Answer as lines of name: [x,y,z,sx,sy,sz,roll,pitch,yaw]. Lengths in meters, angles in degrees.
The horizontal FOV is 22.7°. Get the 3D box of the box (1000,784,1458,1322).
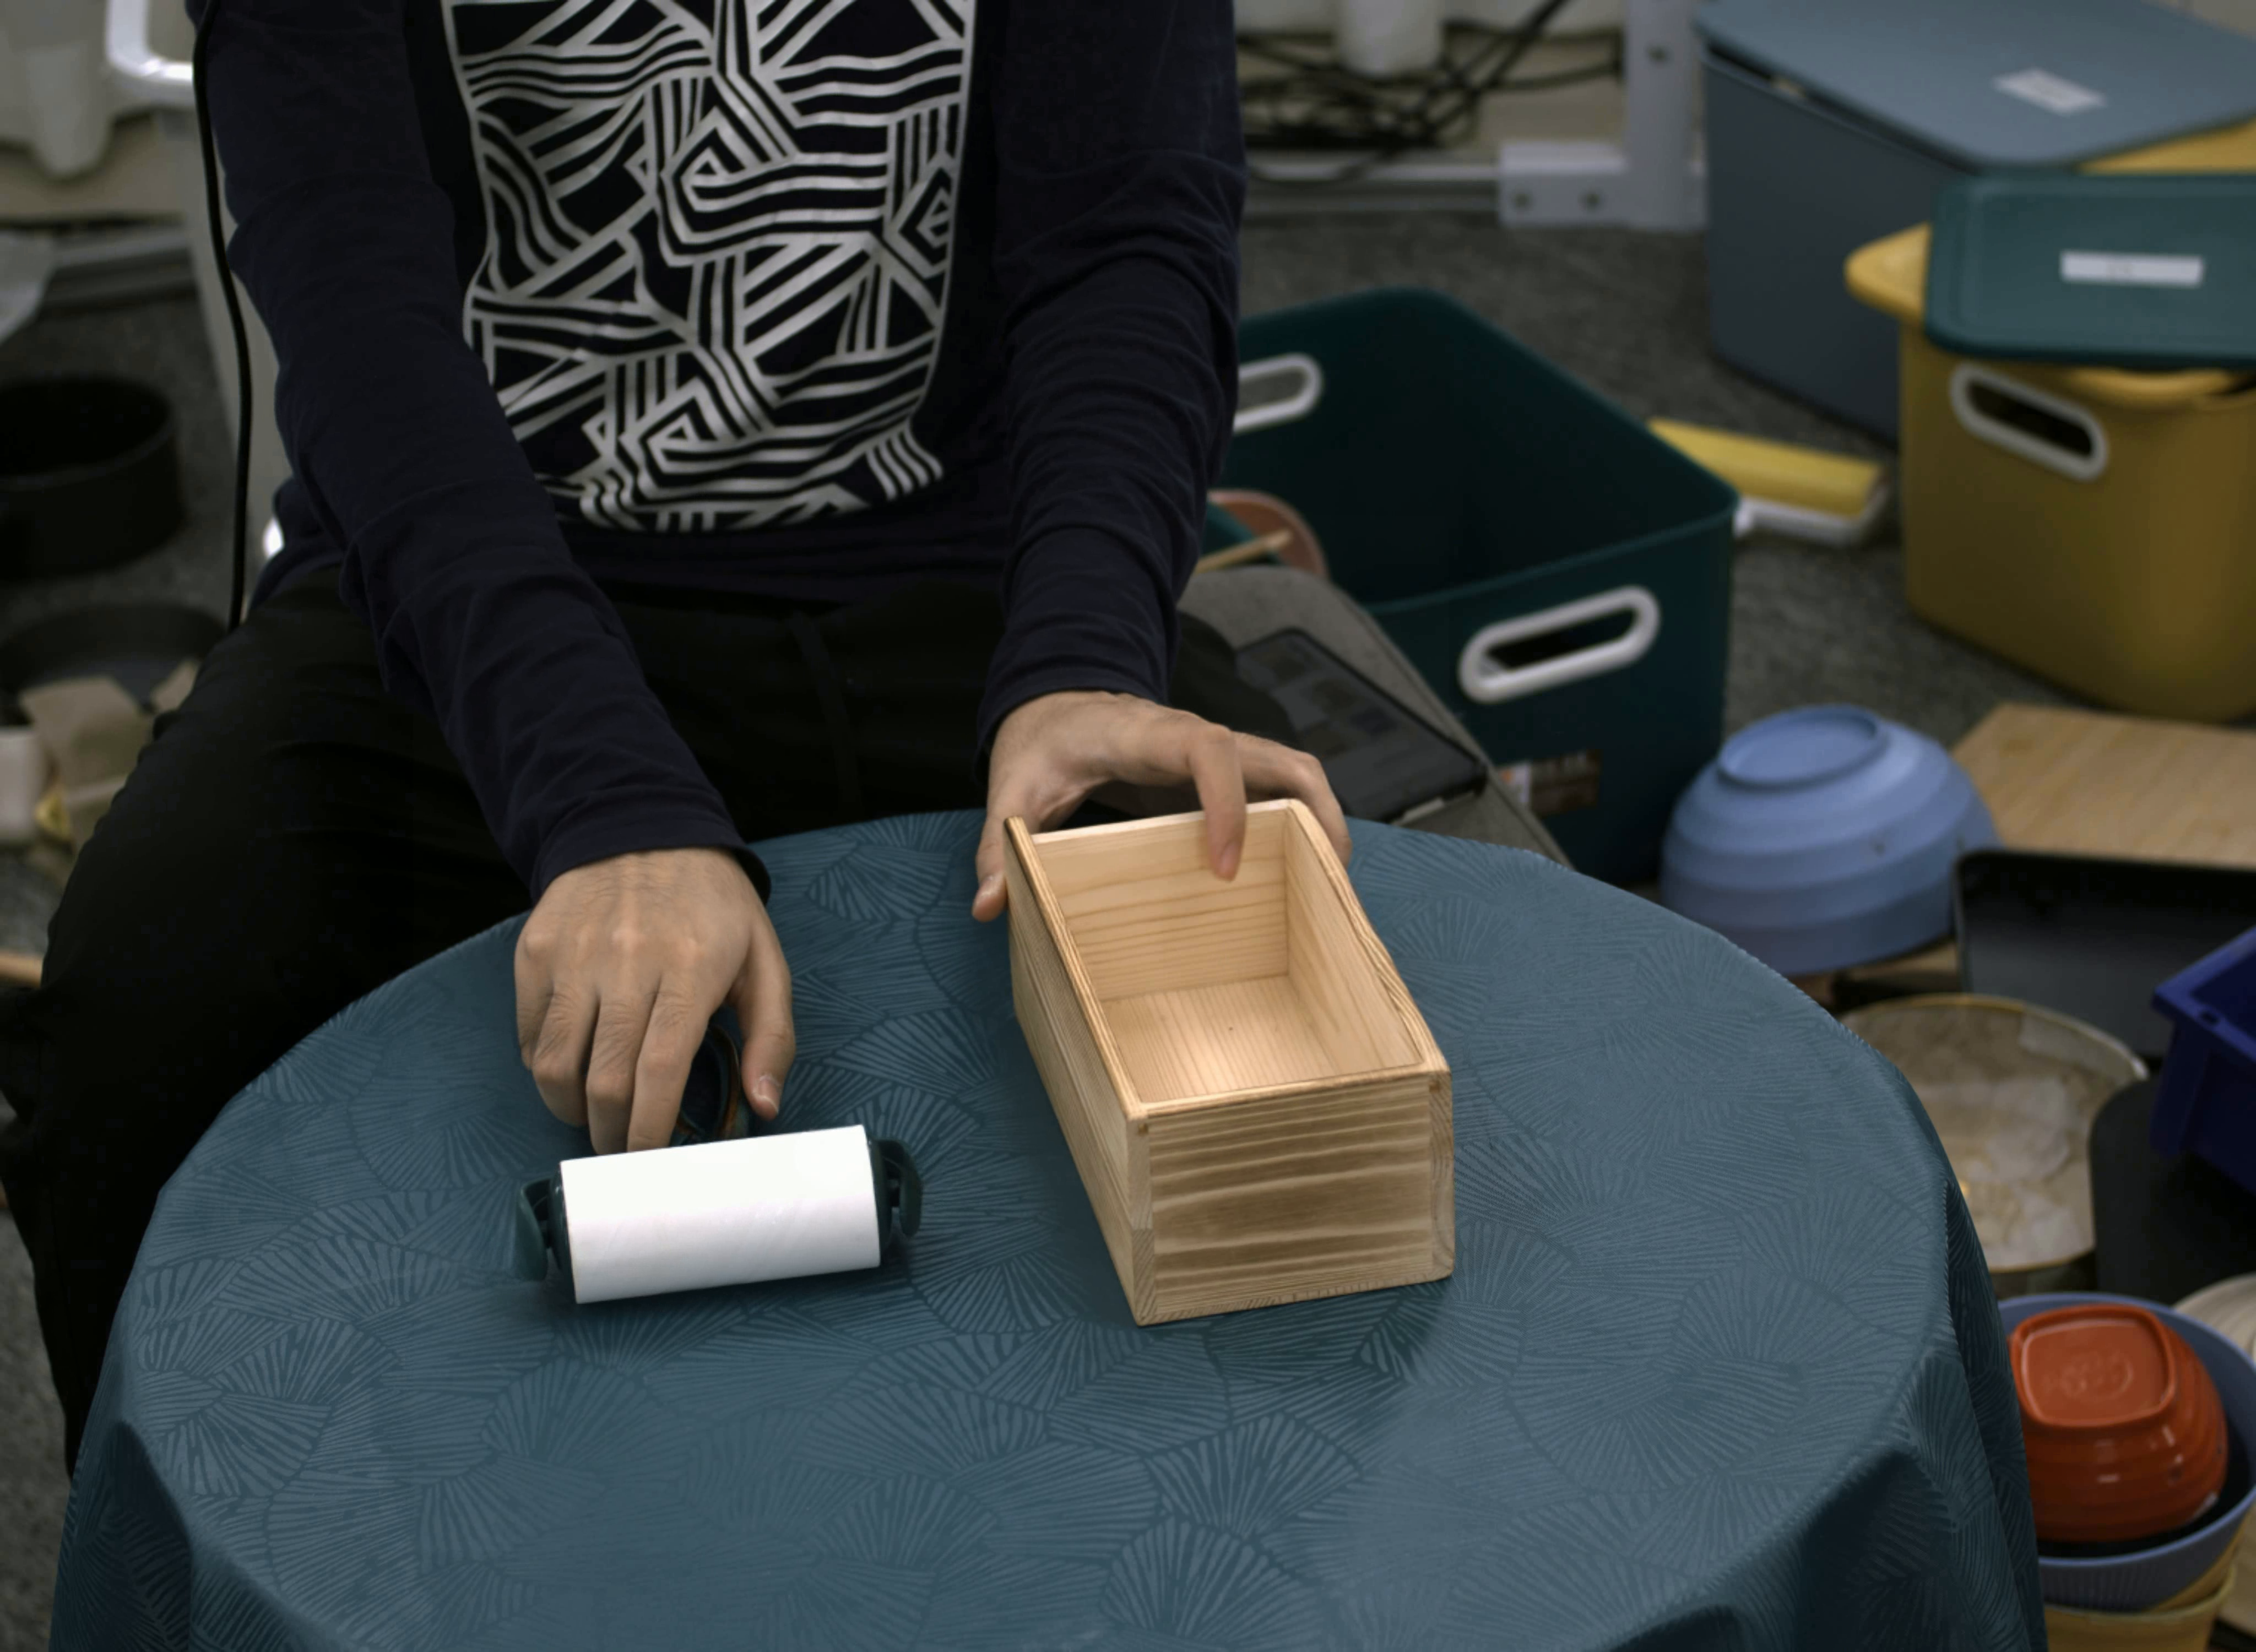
box: [0.031,0.072,1.869,0.107,0.079,0.213,-9,26,-9]

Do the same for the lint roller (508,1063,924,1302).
lint roller: [-0.143,0.100,1.876,0.134,0.048,0.182,-7,23,-7]
